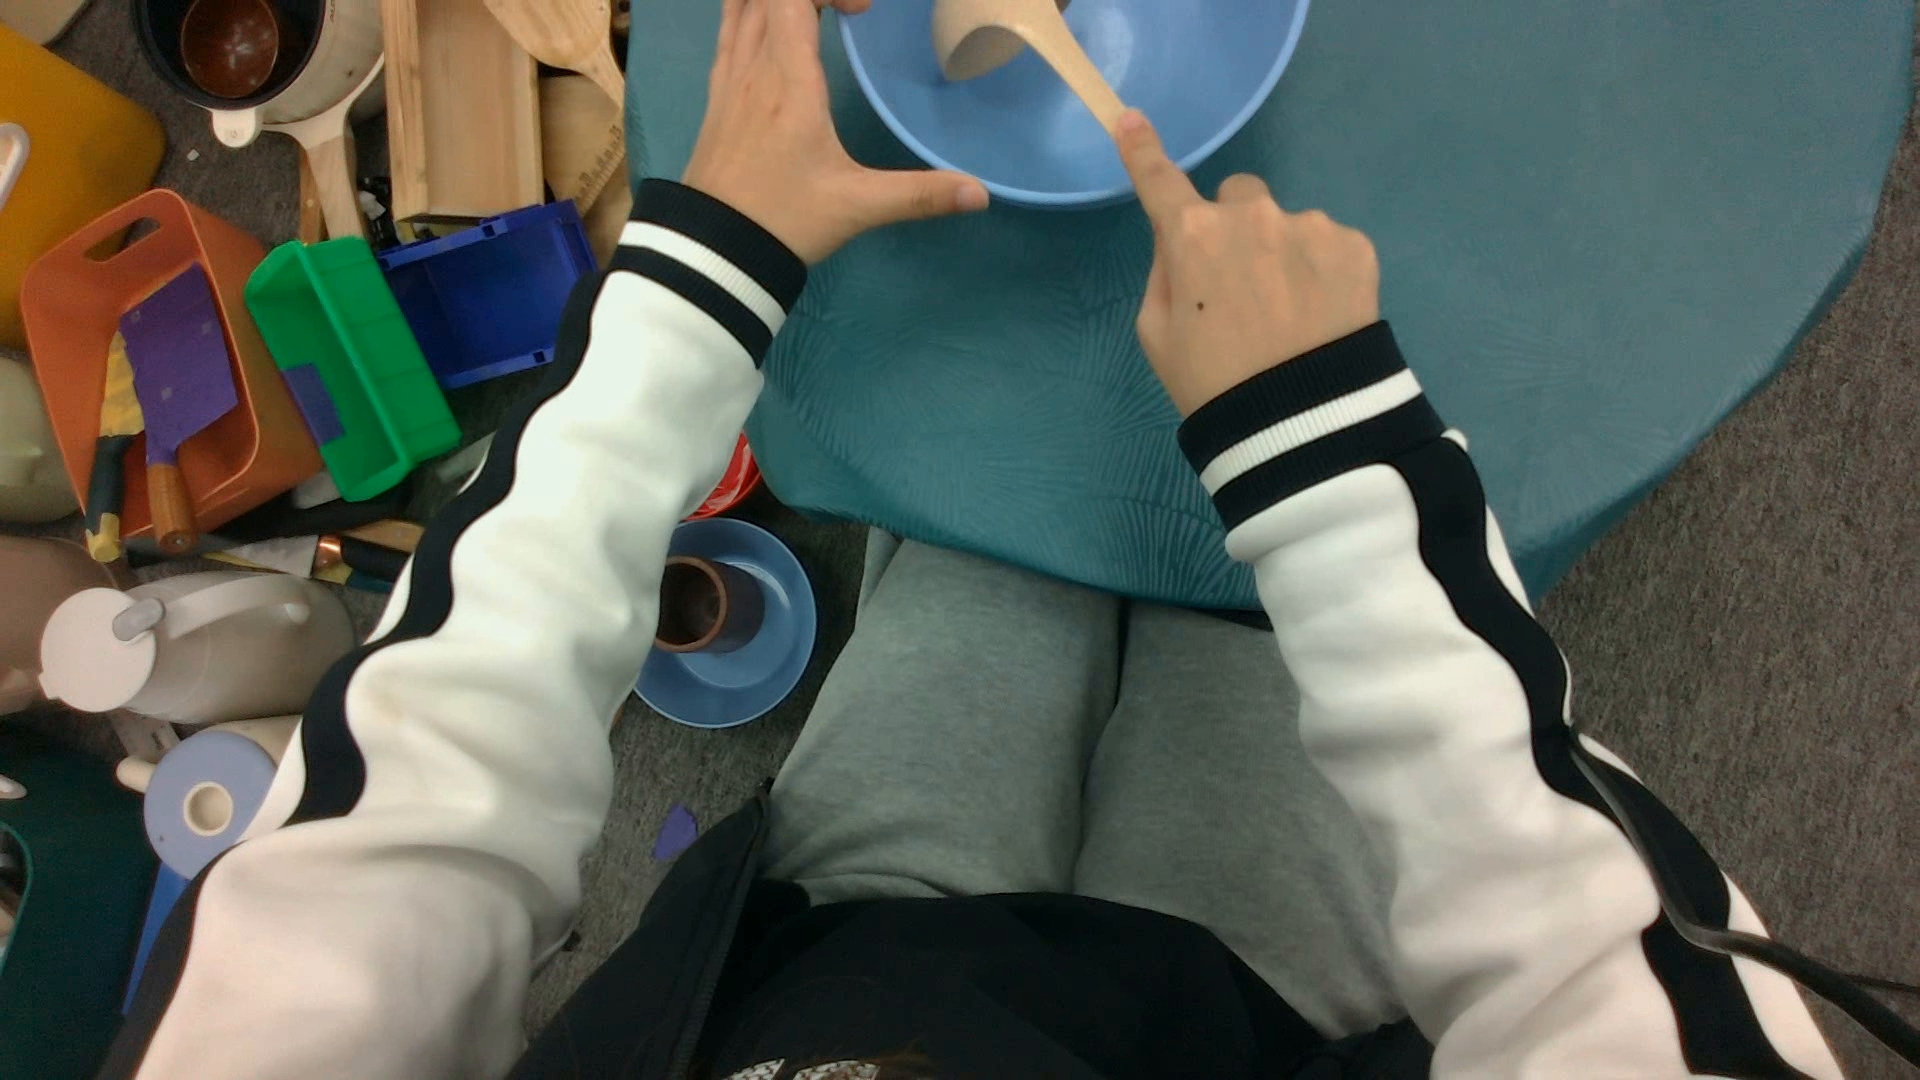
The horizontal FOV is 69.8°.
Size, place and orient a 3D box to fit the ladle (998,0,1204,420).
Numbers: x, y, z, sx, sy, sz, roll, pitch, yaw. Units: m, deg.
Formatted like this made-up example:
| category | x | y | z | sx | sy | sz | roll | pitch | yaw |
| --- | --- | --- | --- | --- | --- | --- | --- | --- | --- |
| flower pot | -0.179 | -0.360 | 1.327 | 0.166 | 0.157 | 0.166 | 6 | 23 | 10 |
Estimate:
| category | x | y | z | sx | sy | sz | roll | pitch | yaw |
| --- | --- | --- | --- | --- | --- | --- | --- | --- | --- |
| ladle | 0.078 | -0.157 | 0.563 | 0.073 | 0.072 | 0.255 | 0 | 63 | -35 |

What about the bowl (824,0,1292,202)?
| category | x | y | z | sx | sy | sz | roll | pitch | yaw |
| --- | --- | --- | --- | --- | --- | --- | --- | --- | --- |
| bowl | 0.044 | -0.234 | 0.612 | 0.196 | 0.095 | 0.196 | -1 | 84 | 6 |
